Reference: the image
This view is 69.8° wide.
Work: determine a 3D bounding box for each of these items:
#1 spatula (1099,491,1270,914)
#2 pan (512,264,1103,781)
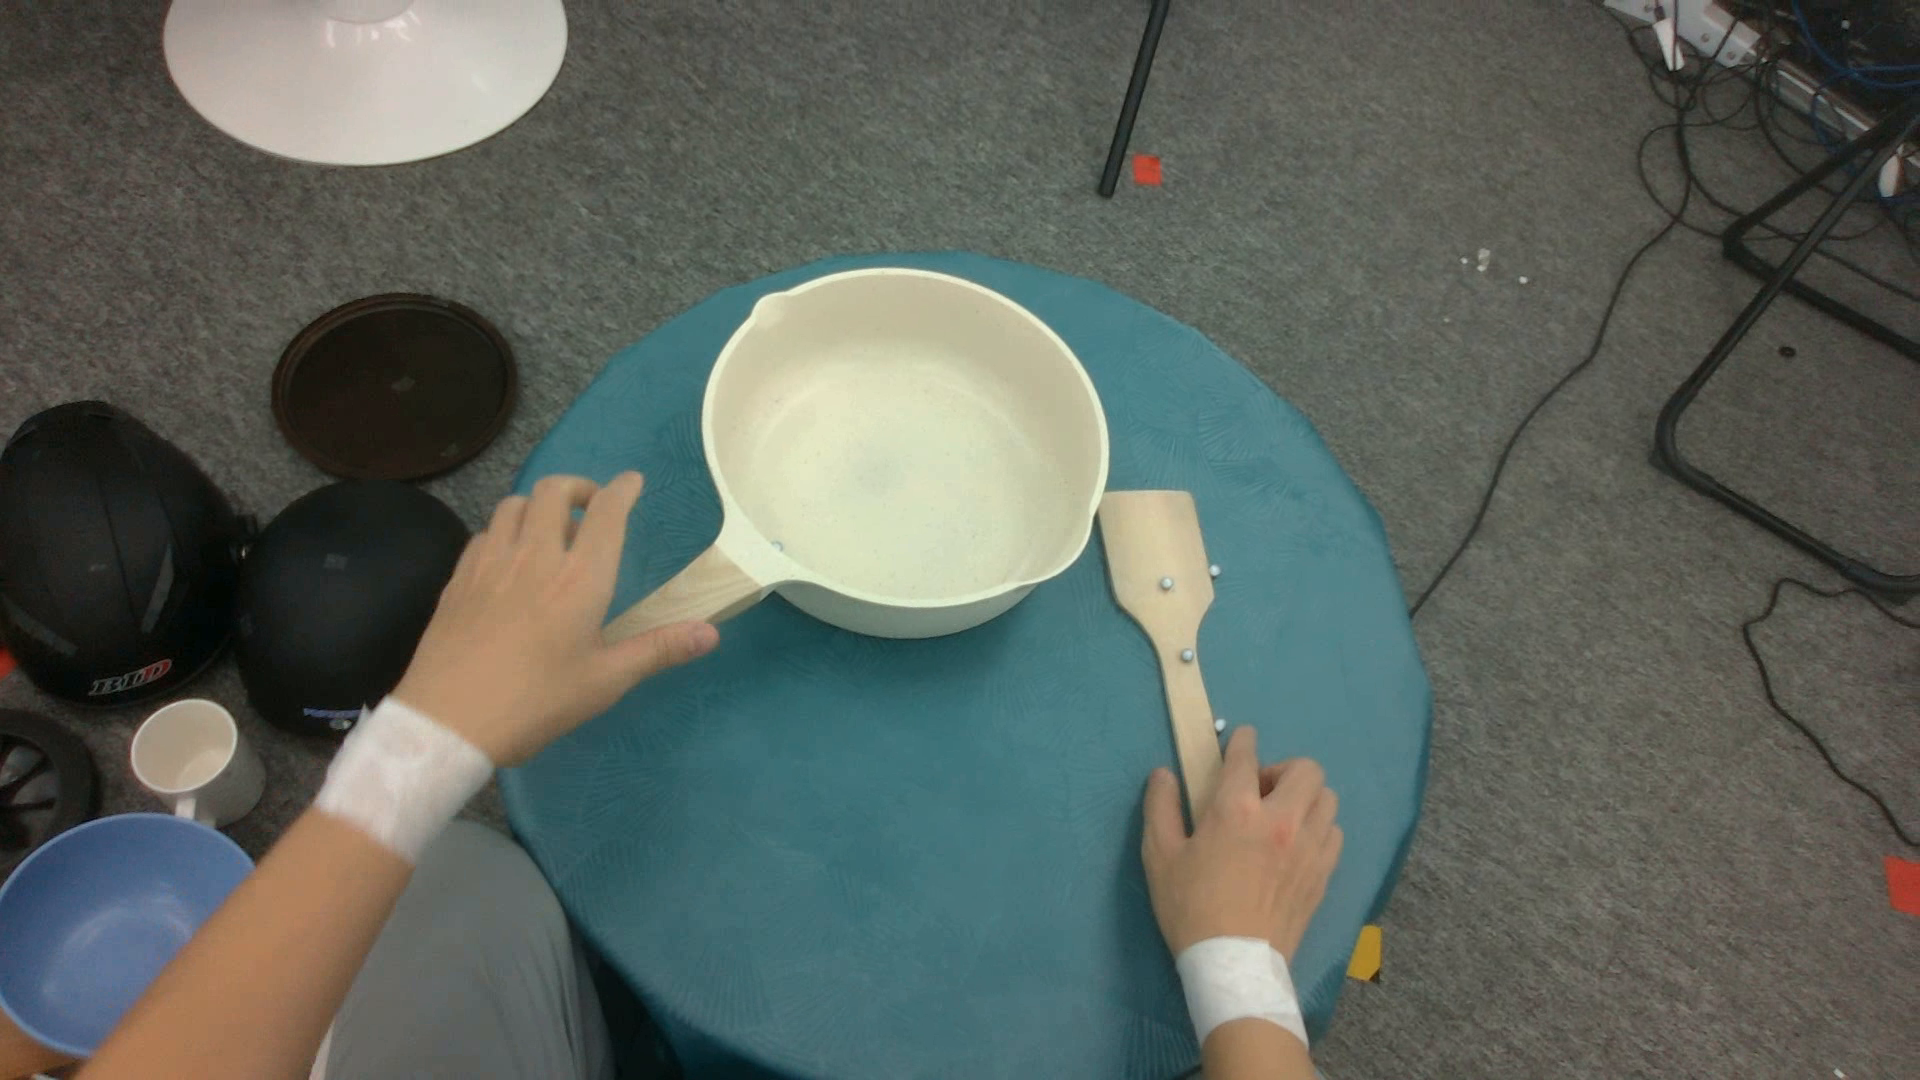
[{"bbox_3d":[0.150,0.093,0.876,0.072,0.010,0.294,-3,59,-12],"label":"spatula"},{"bbox_3d":[-0.095,-0.001,0.839,0.263,0.101,0.437,39,61,12],"label":"pan"}]
